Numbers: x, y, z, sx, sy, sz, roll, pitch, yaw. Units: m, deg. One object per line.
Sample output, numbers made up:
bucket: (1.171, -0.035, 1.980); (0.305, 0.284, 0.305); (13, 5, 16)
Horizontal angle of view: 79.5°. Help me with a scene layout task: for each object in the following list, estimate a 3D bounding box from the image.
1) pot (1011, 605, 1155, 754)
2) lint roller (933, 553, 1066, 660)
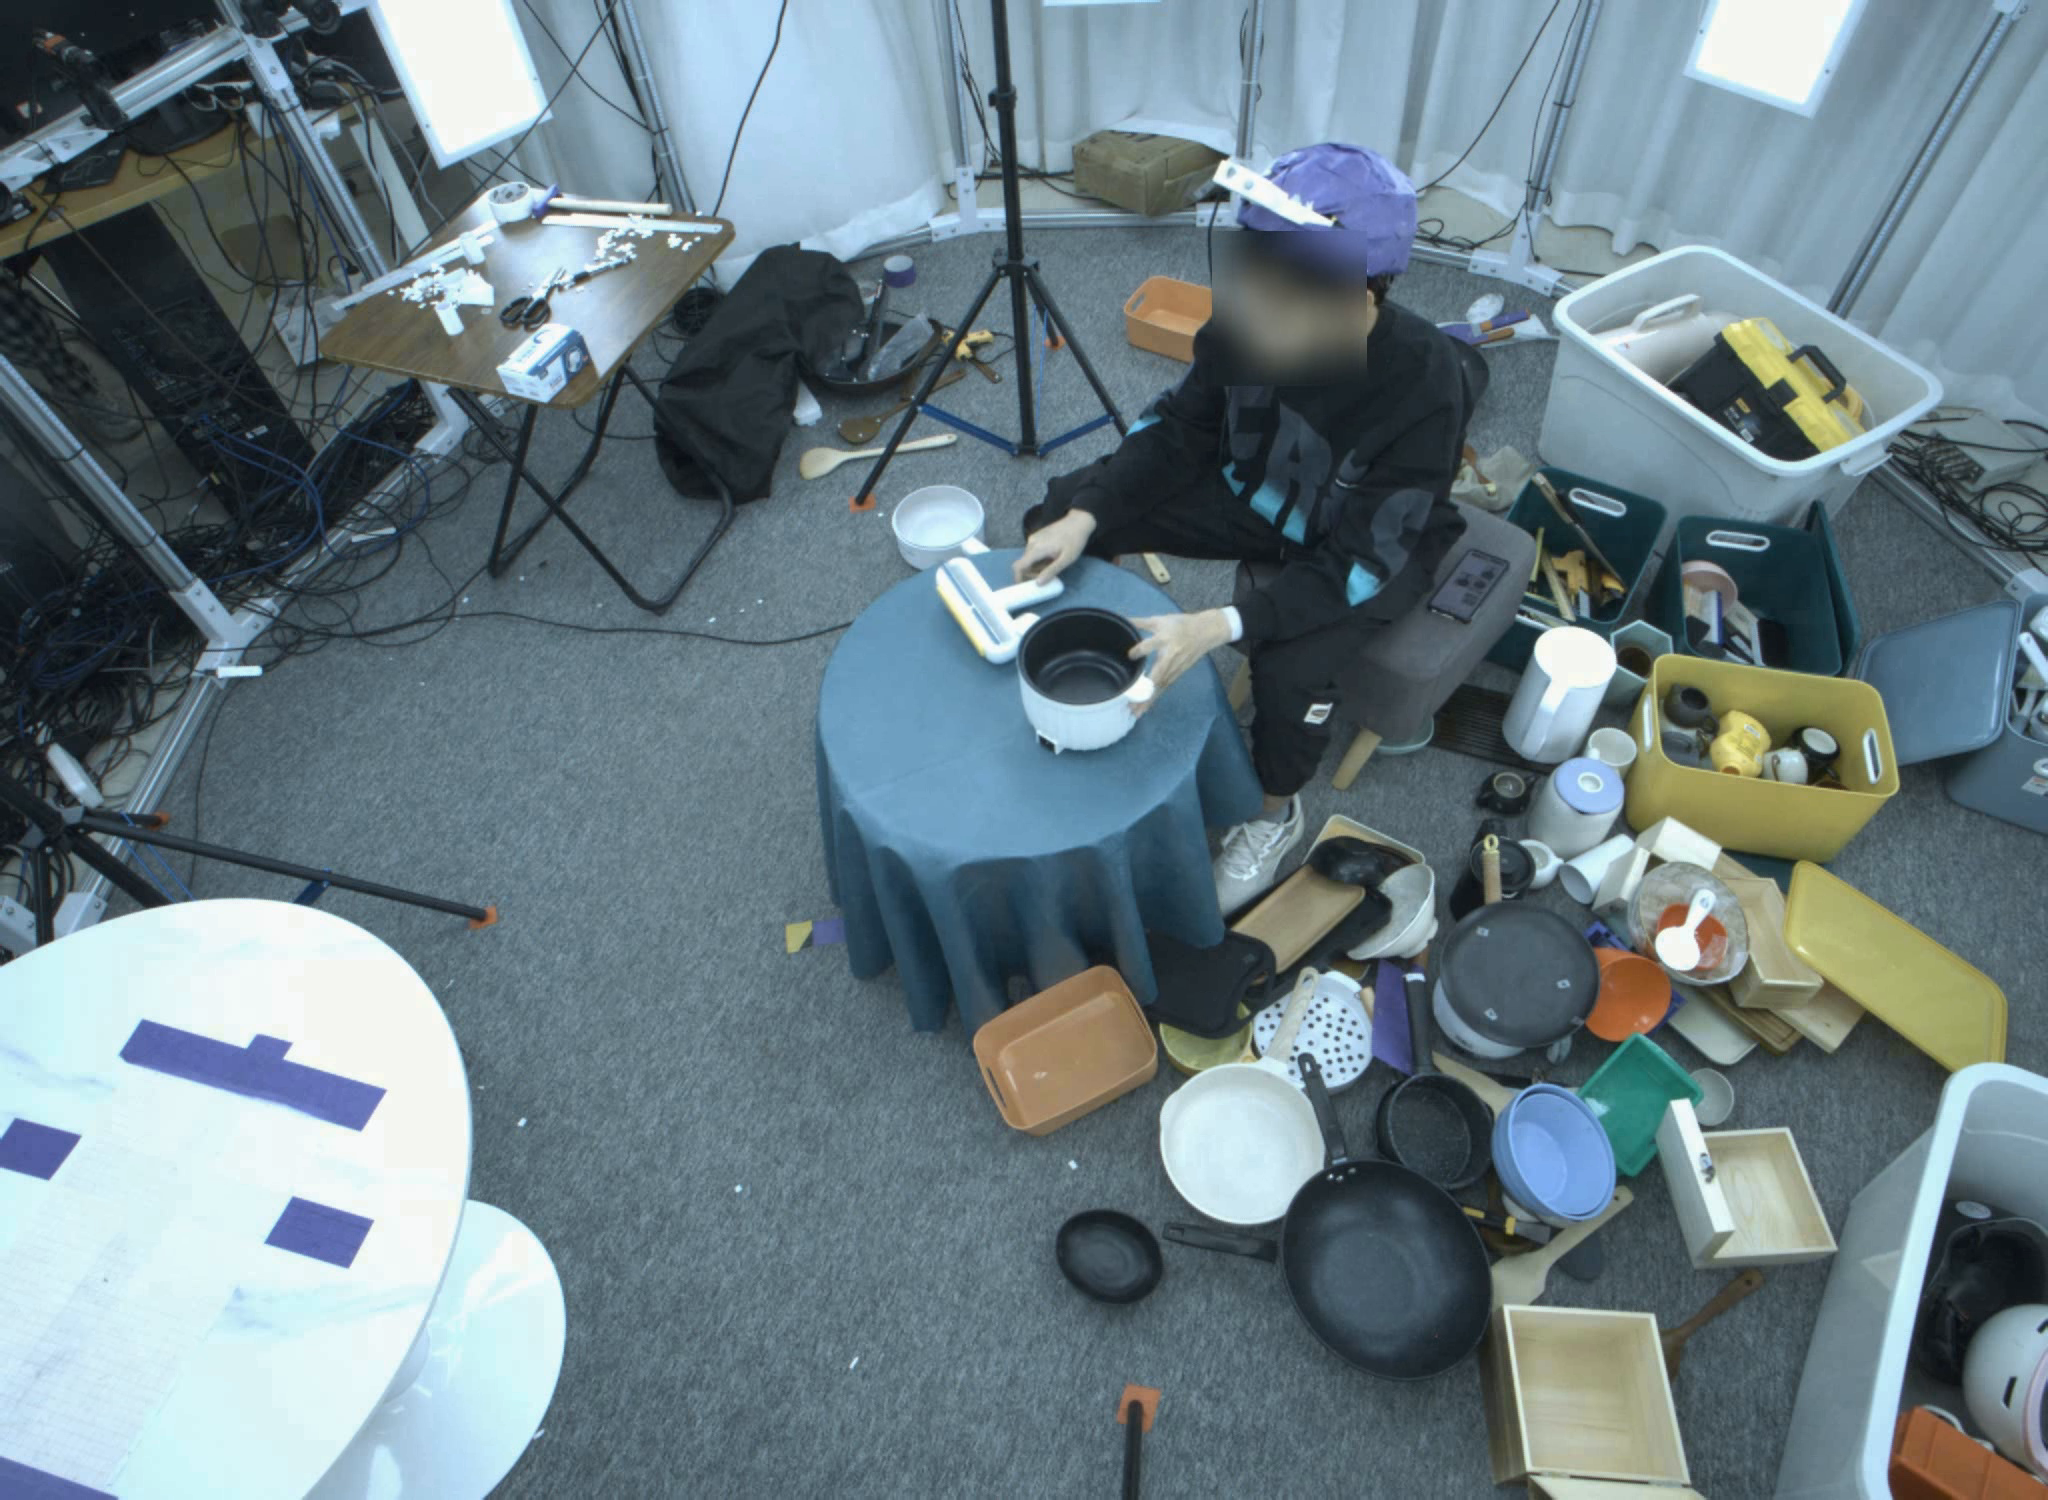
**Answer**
pot: (0.086, -0.100, 1.765); (0.236, 0.144, 0.191); (32, 65, 21)
lint roller: (-0.023, -0.240, 1.912); (0.194, 0.075, 0.189); (-24, 62, -16)
